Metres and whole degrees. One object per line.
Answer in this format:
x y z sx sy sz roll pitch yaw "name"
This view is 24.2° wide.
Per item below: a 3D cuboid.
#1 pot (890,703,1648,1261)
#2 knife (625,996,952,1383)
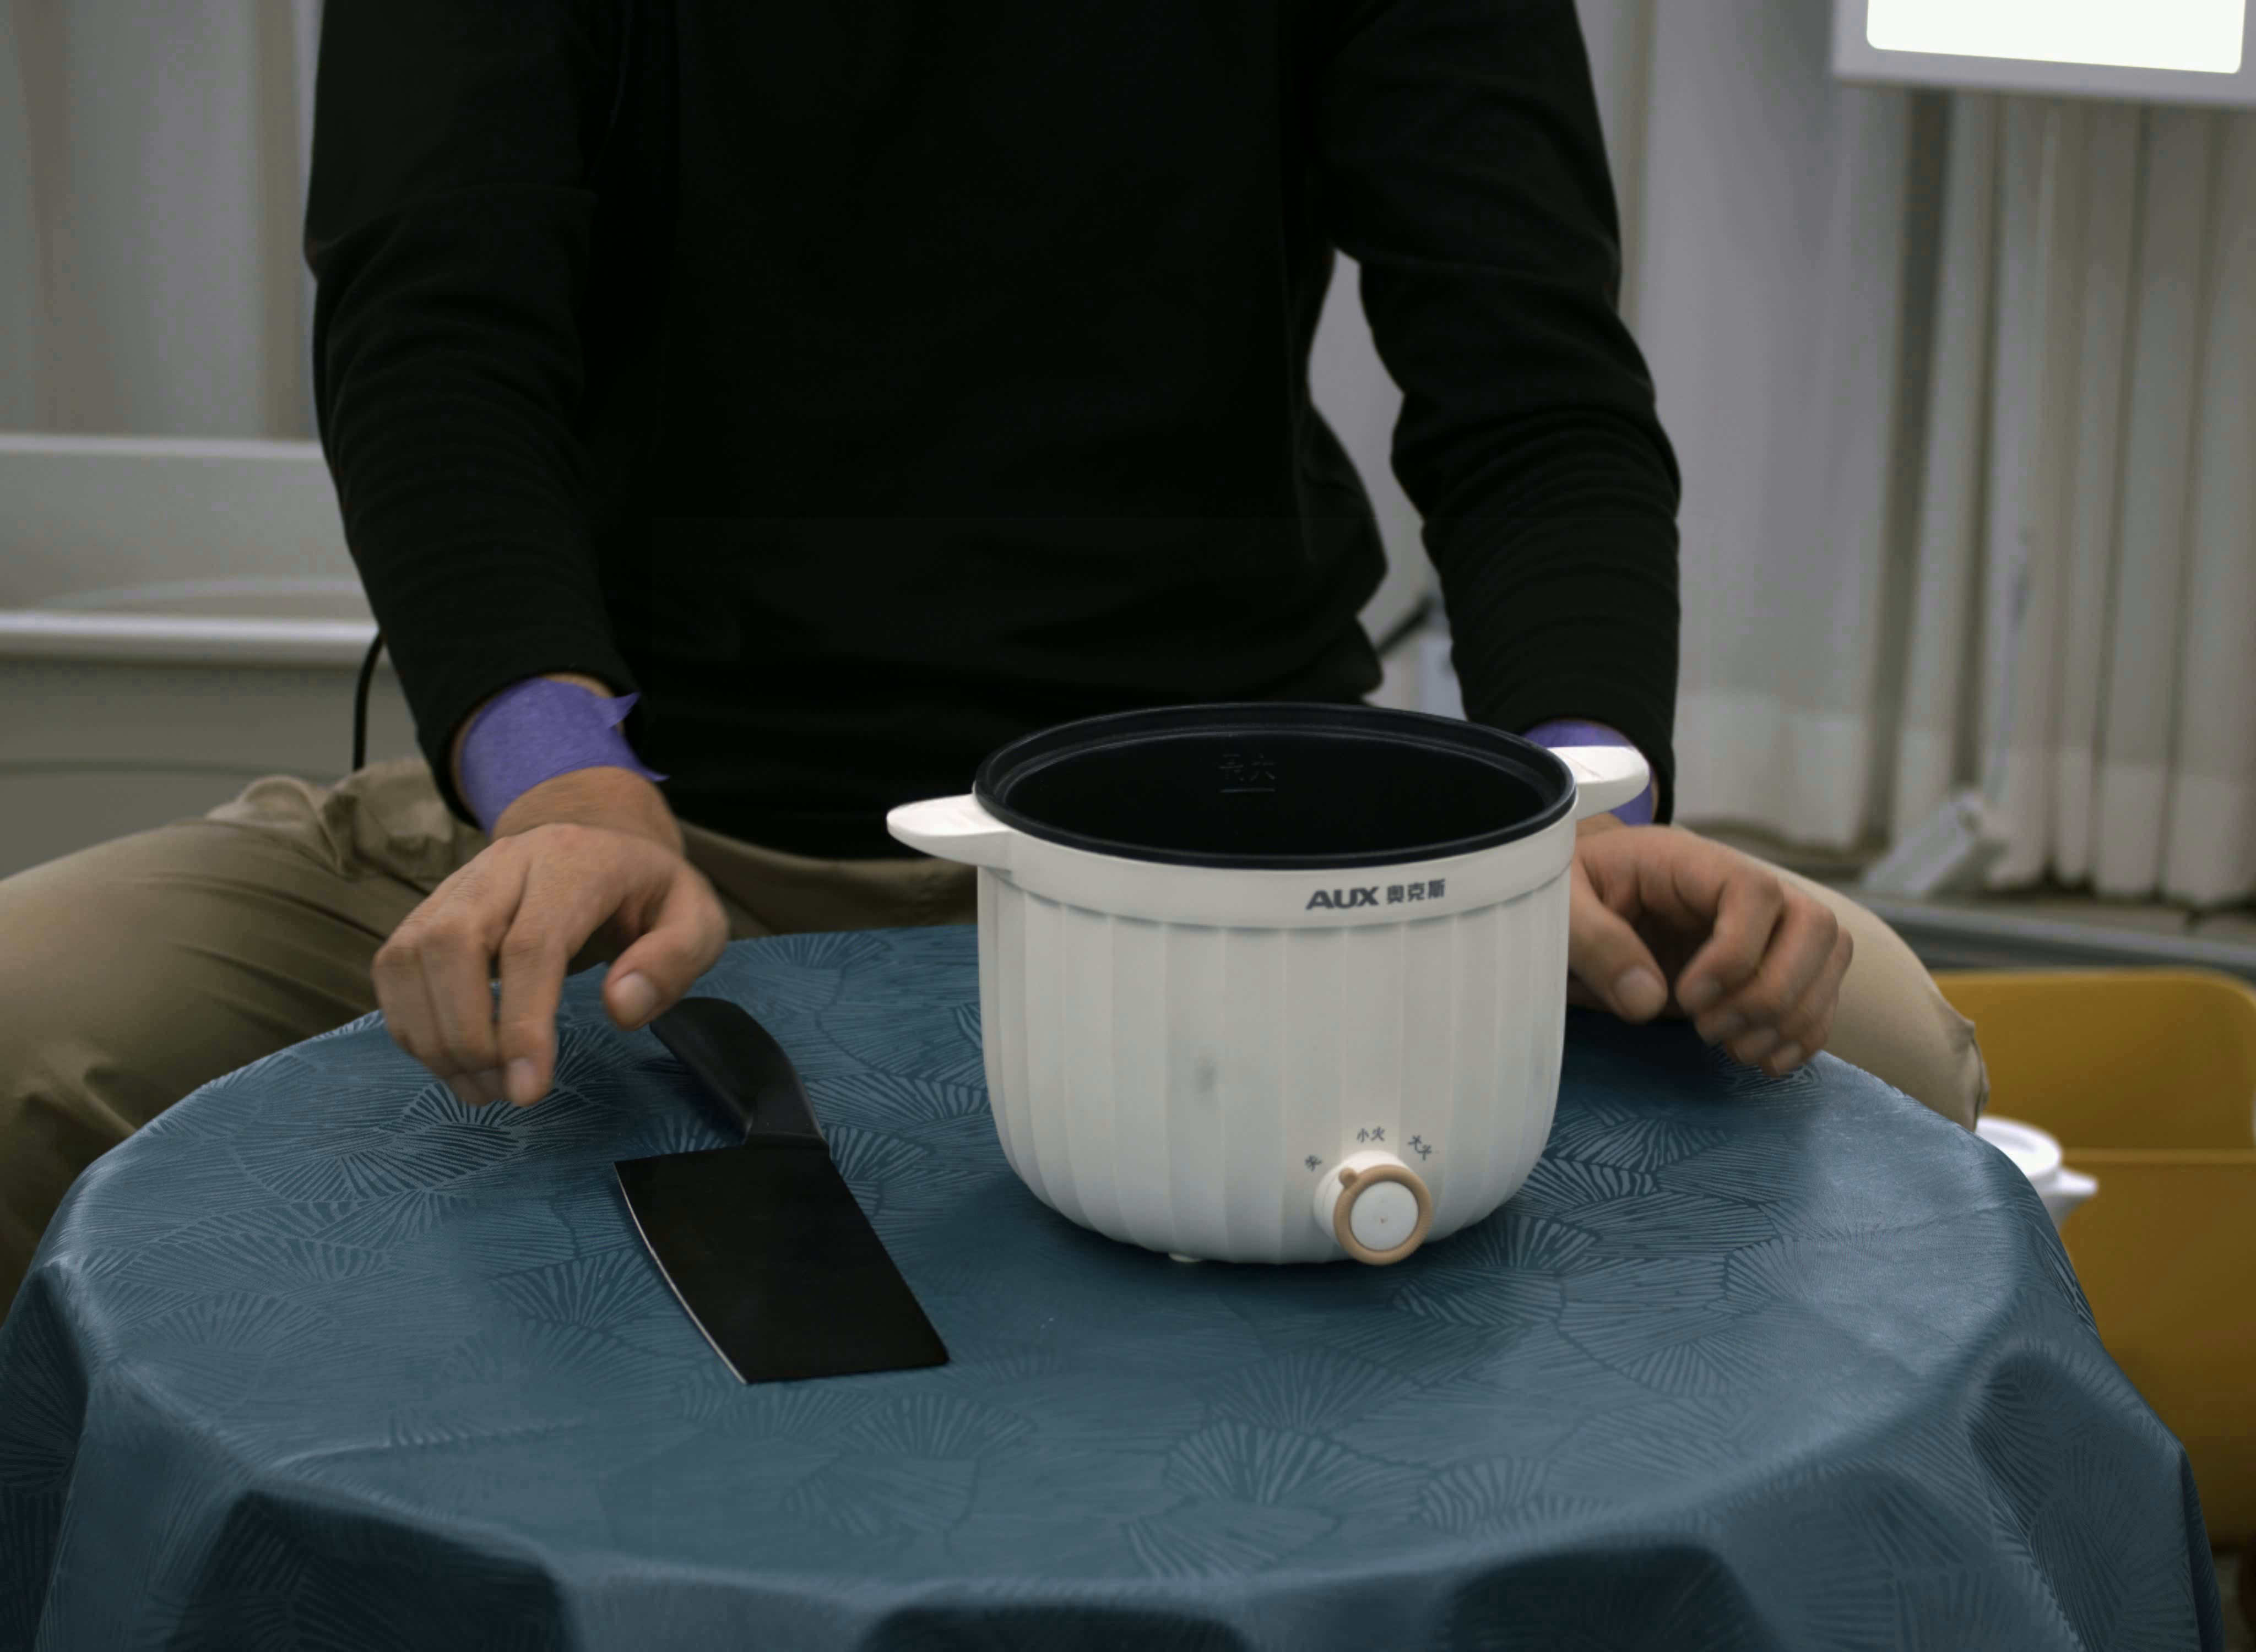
0.047 0.050 1.590 0.241 0.144 0.188 -6 14 -18 "pot"
-0.114 0.109 1.606 0.081 0.021 0.299 -3 18 -10 "knife"
